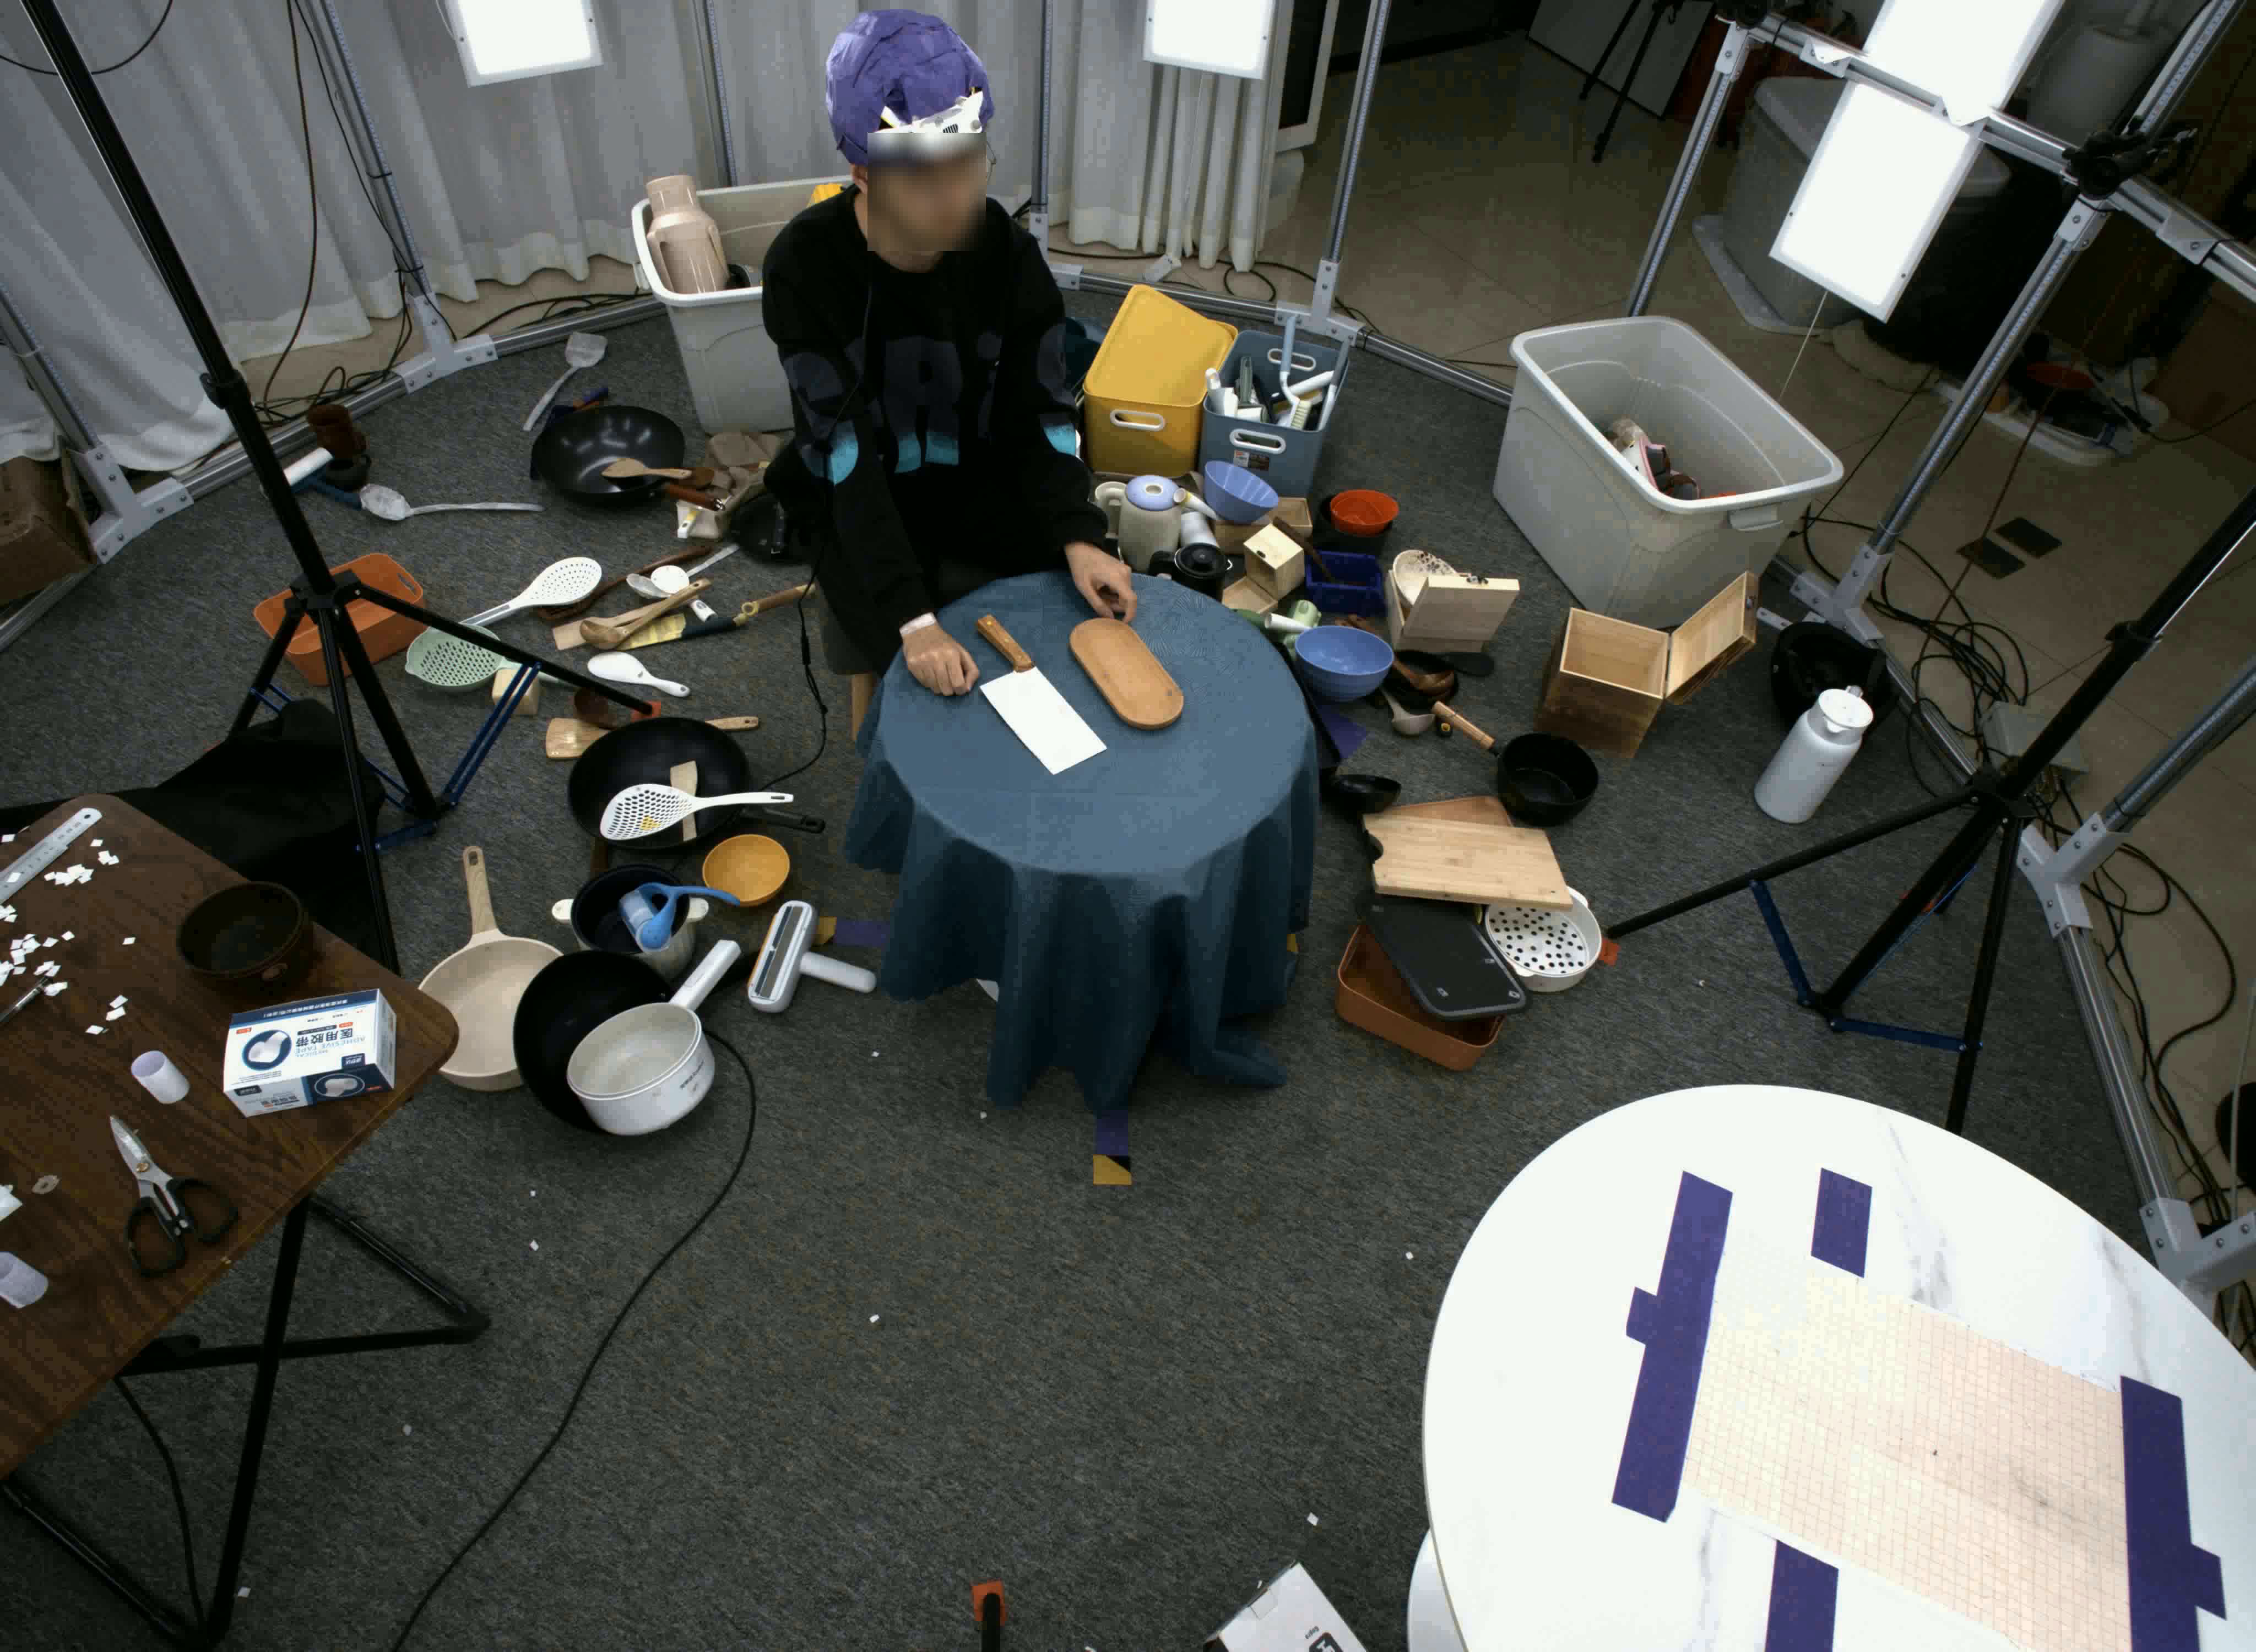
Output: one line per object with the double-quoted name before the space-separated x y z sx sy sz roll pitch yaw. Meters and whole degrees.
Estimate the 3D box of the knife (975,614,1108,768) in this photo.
"knife" -0.147 -0.191 1.815 0.093 0.020 0.311 -27 58 -23

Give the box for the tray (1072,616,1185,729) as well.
"tray" -0.001 -0.224 1.852 0.102 0.020 0.236 -20 52 -20
